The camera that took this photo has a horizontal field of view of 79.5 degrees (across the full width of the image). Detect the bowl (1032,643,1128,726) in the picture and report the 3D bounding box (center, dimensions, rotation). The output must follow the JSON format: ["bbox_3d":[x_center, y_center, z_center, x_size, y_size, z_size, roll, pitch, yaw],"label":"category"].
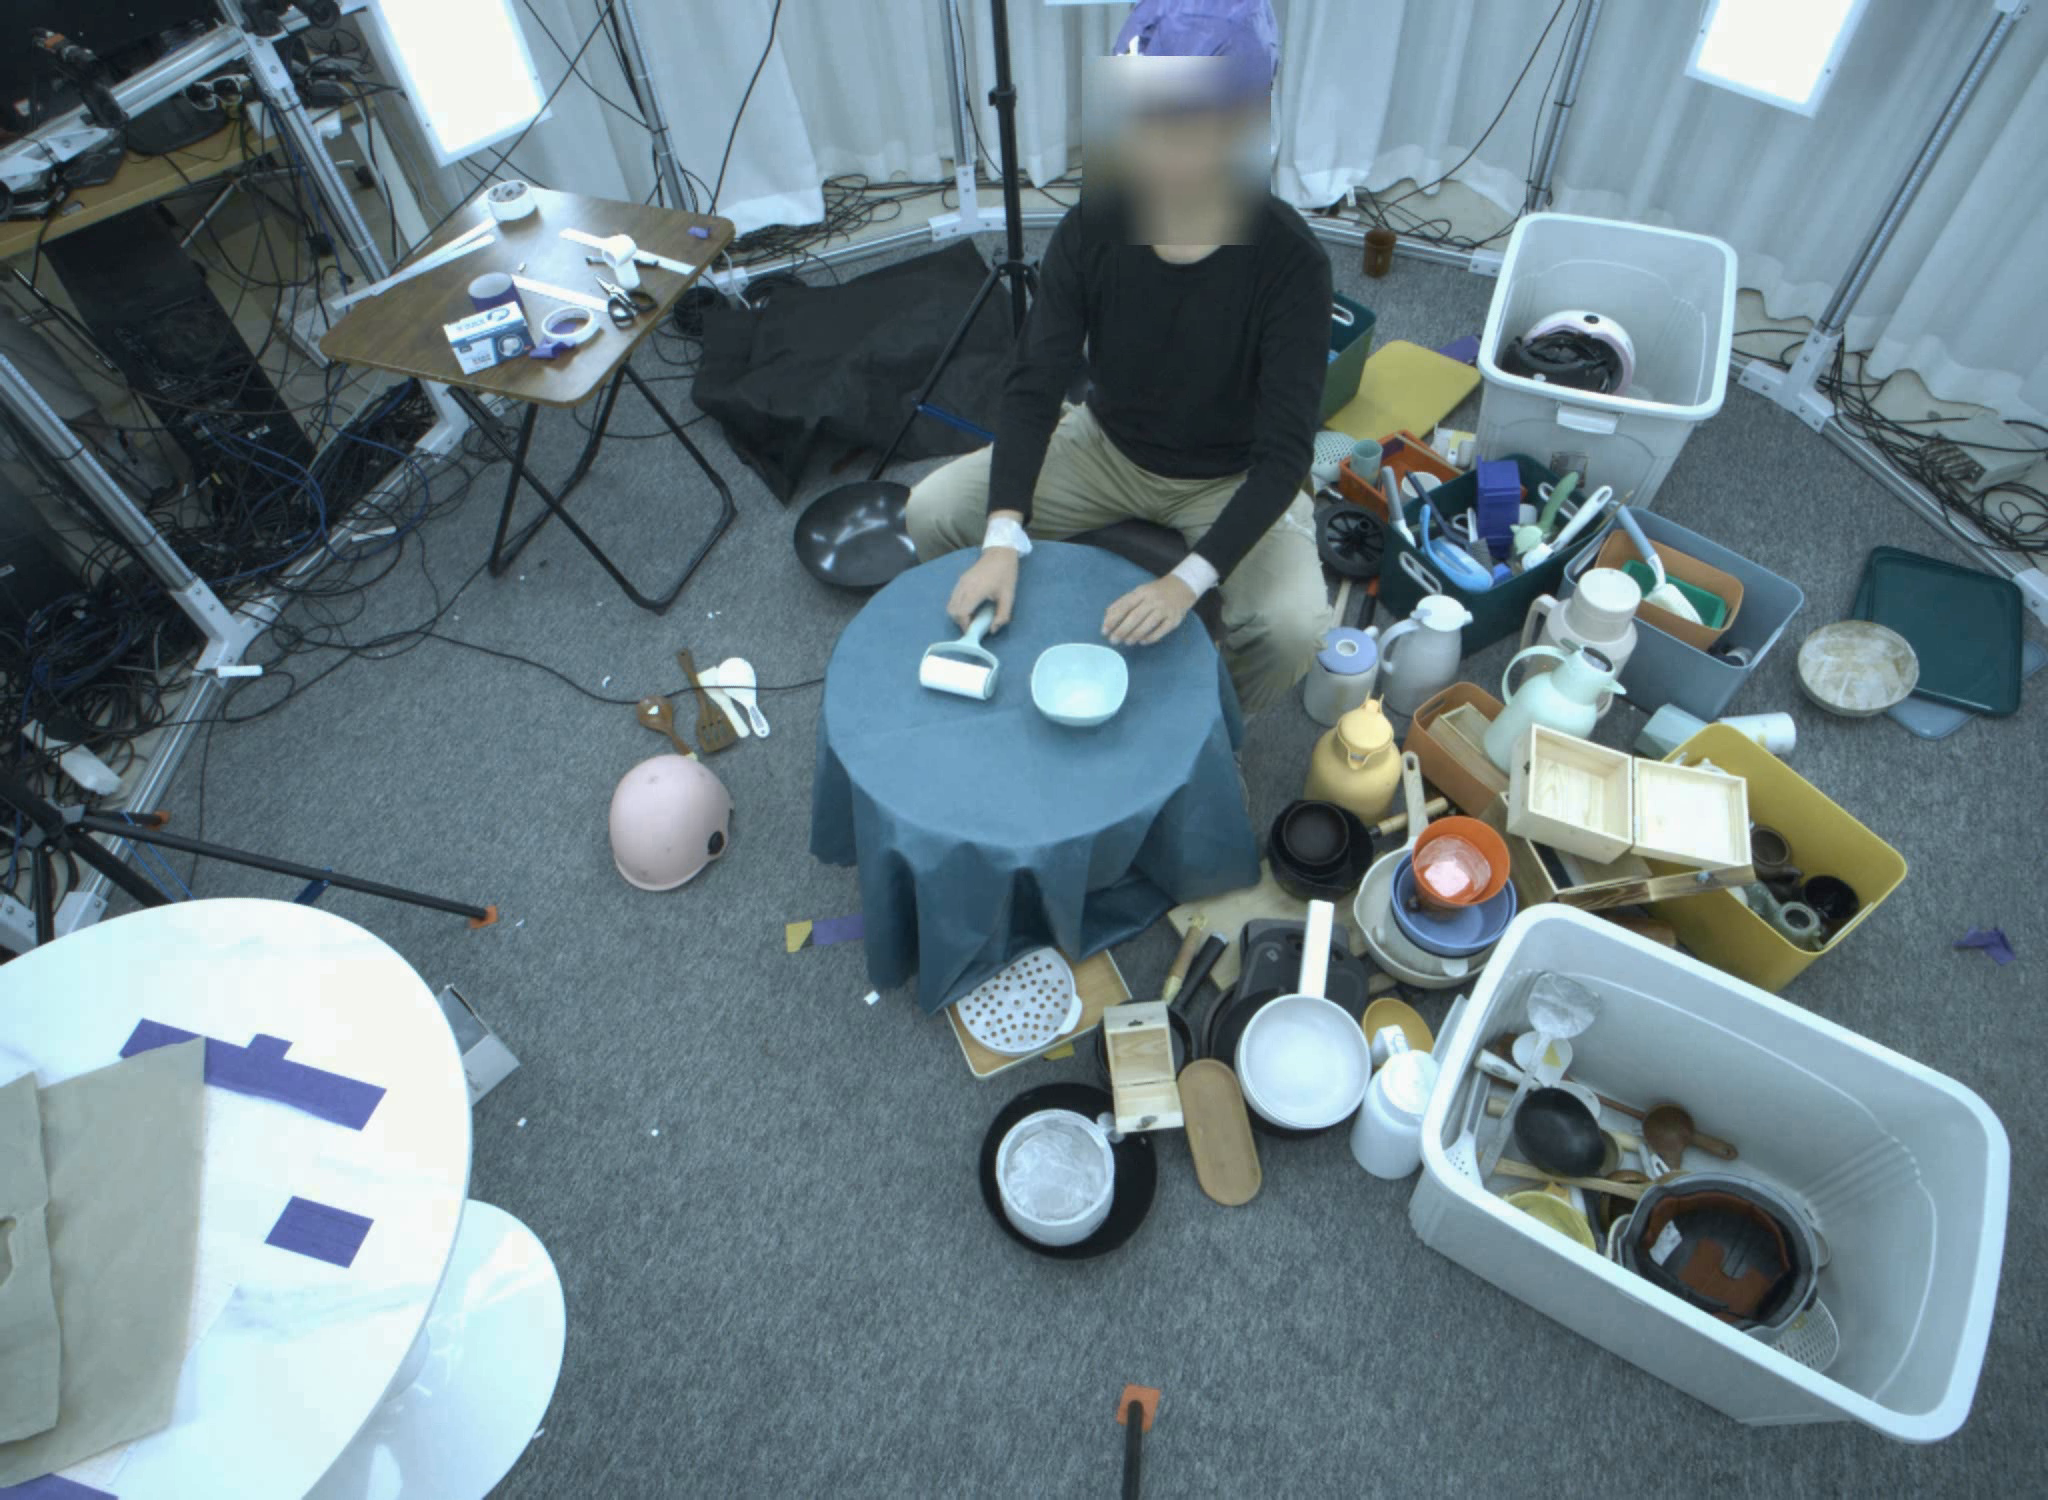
[{"bbox_3d":[0.084,-0.086,1.812,0.151,0.059,0.150,-1,56,3],"label":"bowl"}]

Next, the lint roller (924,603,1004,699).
[{"bbox_3d":[-0.070,-0.163,1.878,0.115,0.049,0.197,13,55,12],"label":"lint roller"}]
